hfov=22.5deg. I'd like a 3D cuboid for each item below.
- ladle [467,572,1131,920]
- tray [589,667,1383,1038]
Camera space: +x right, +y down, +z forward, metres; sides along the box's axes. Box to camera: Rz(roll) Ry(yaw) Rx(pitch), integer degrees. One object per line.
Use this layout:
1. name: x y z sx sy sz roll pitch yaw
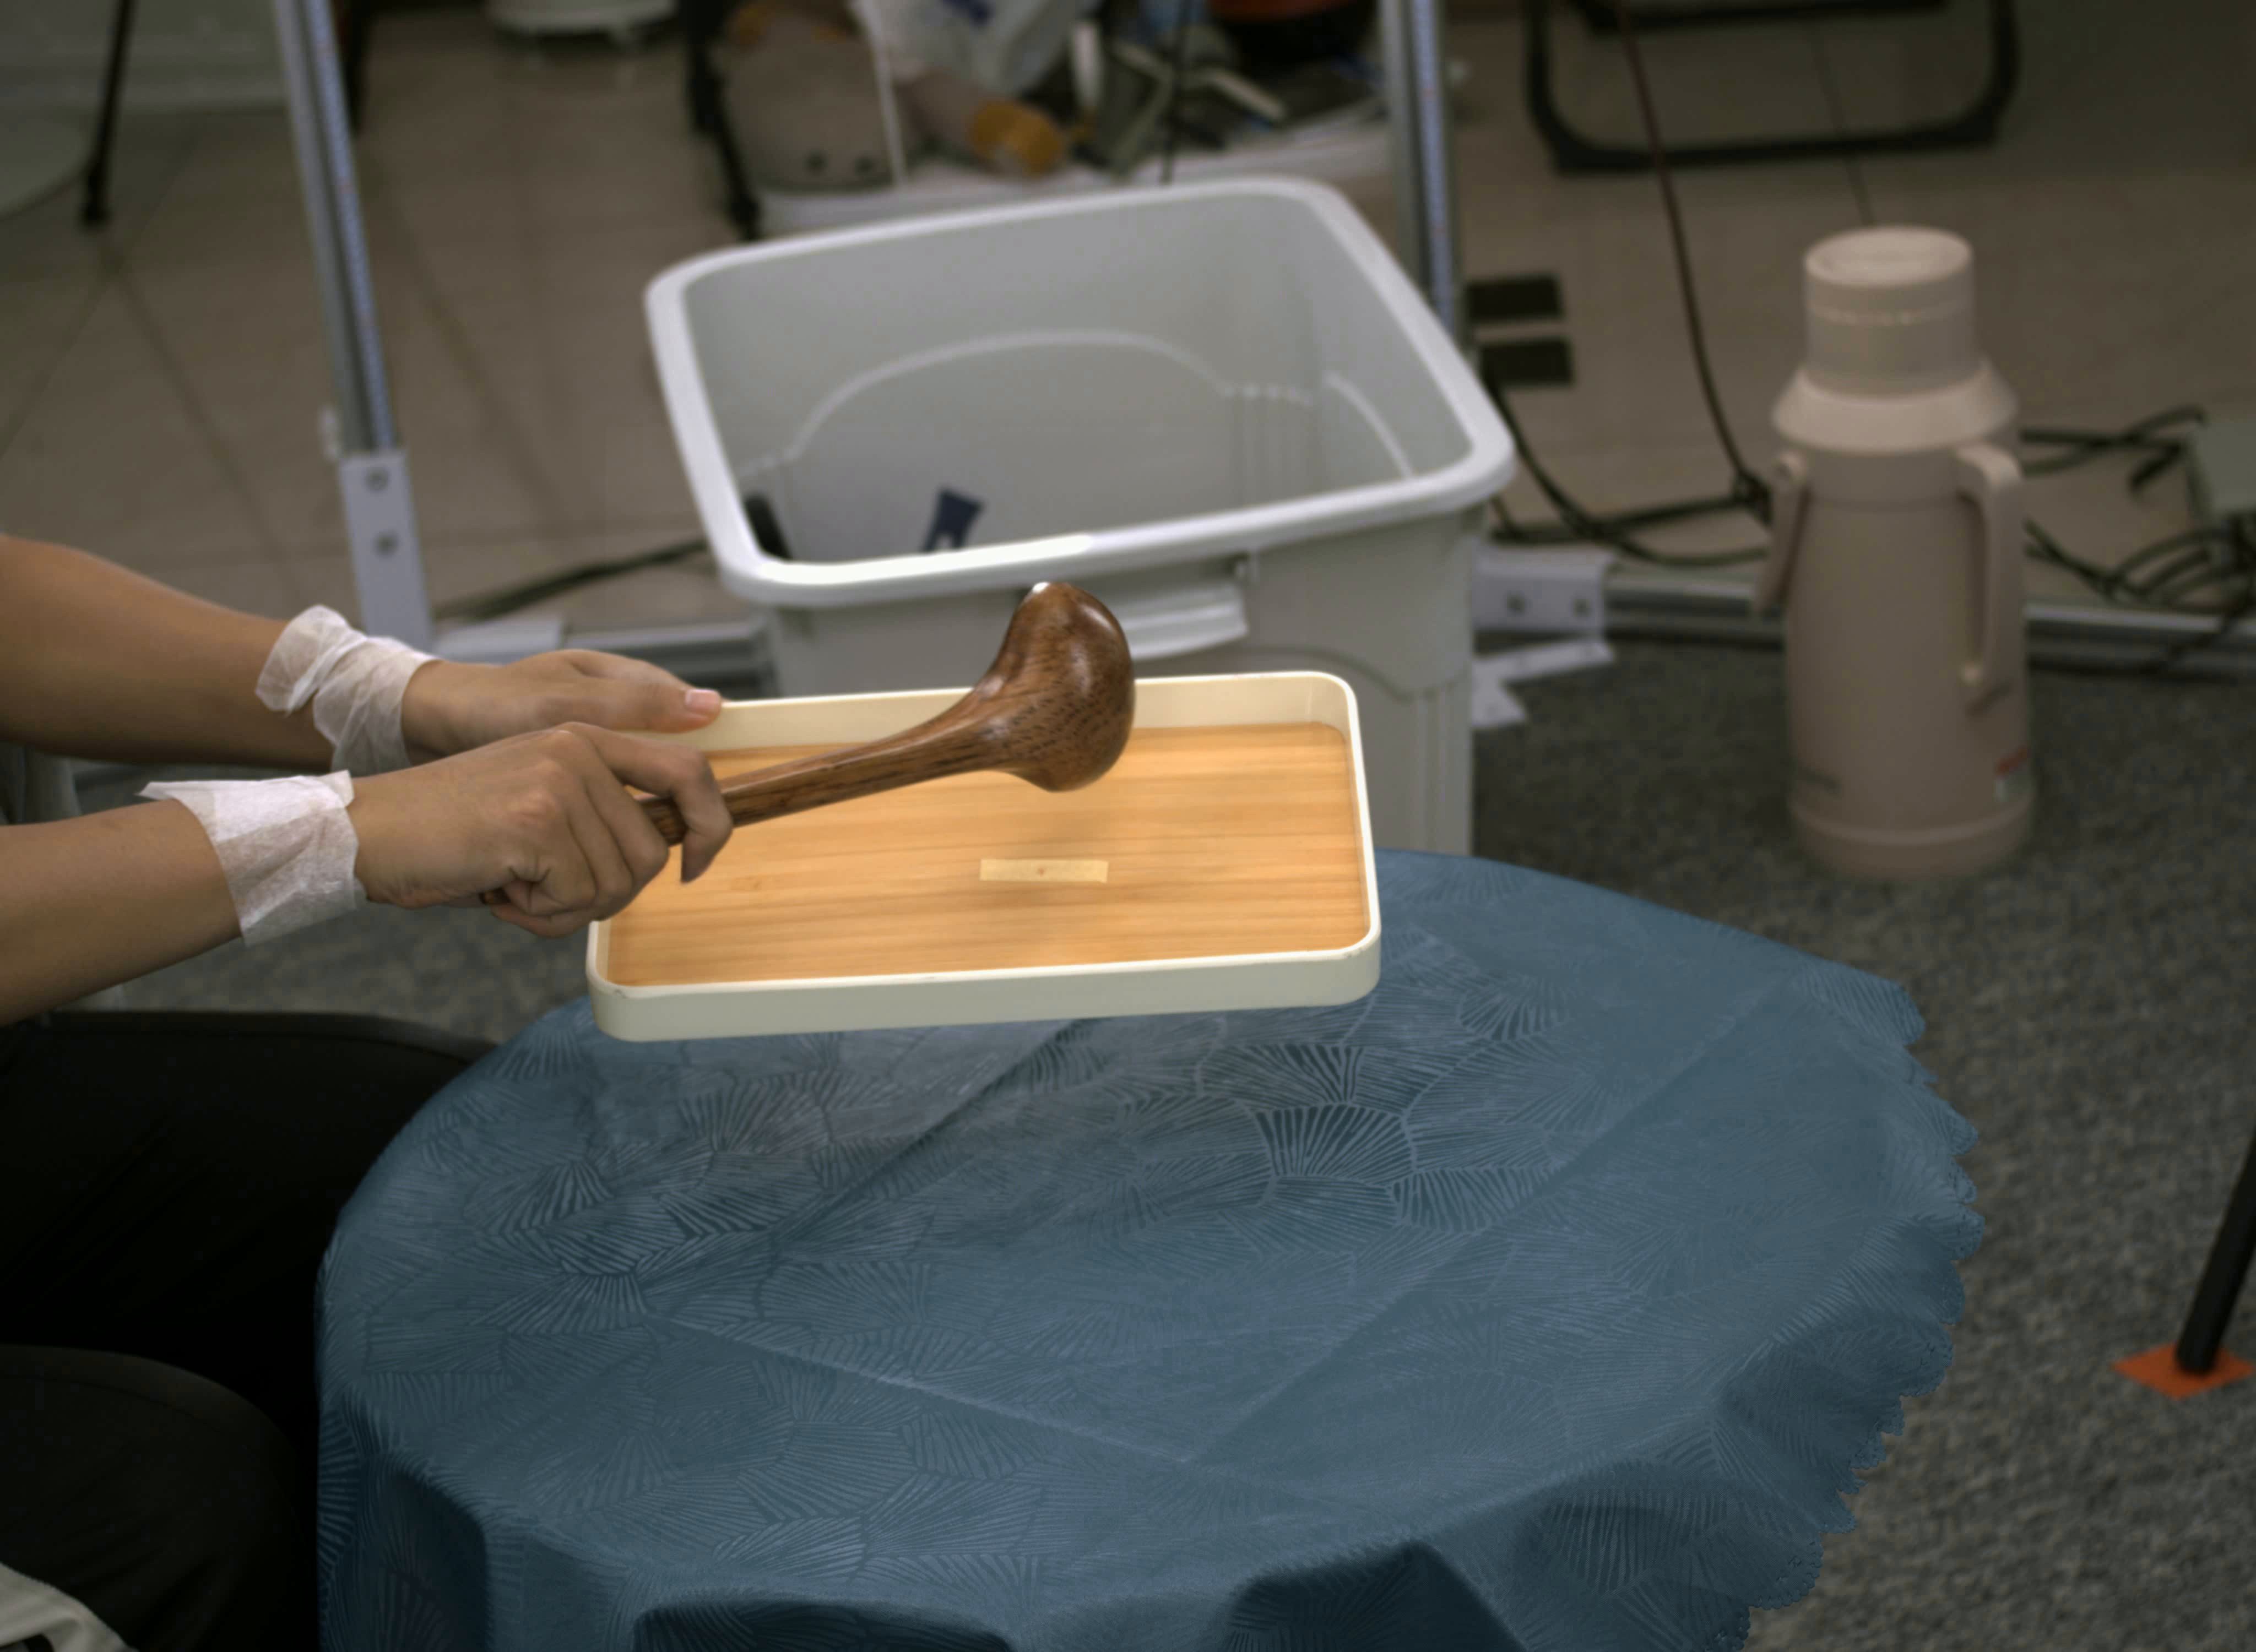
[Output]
1. ladle: -0.124 -0.026 2.131 0.273 0.083 0.076 -18 15 -13
2. tray: -0.055 0.008 2.195 0.300 0.028 0.188 -3 37 0
